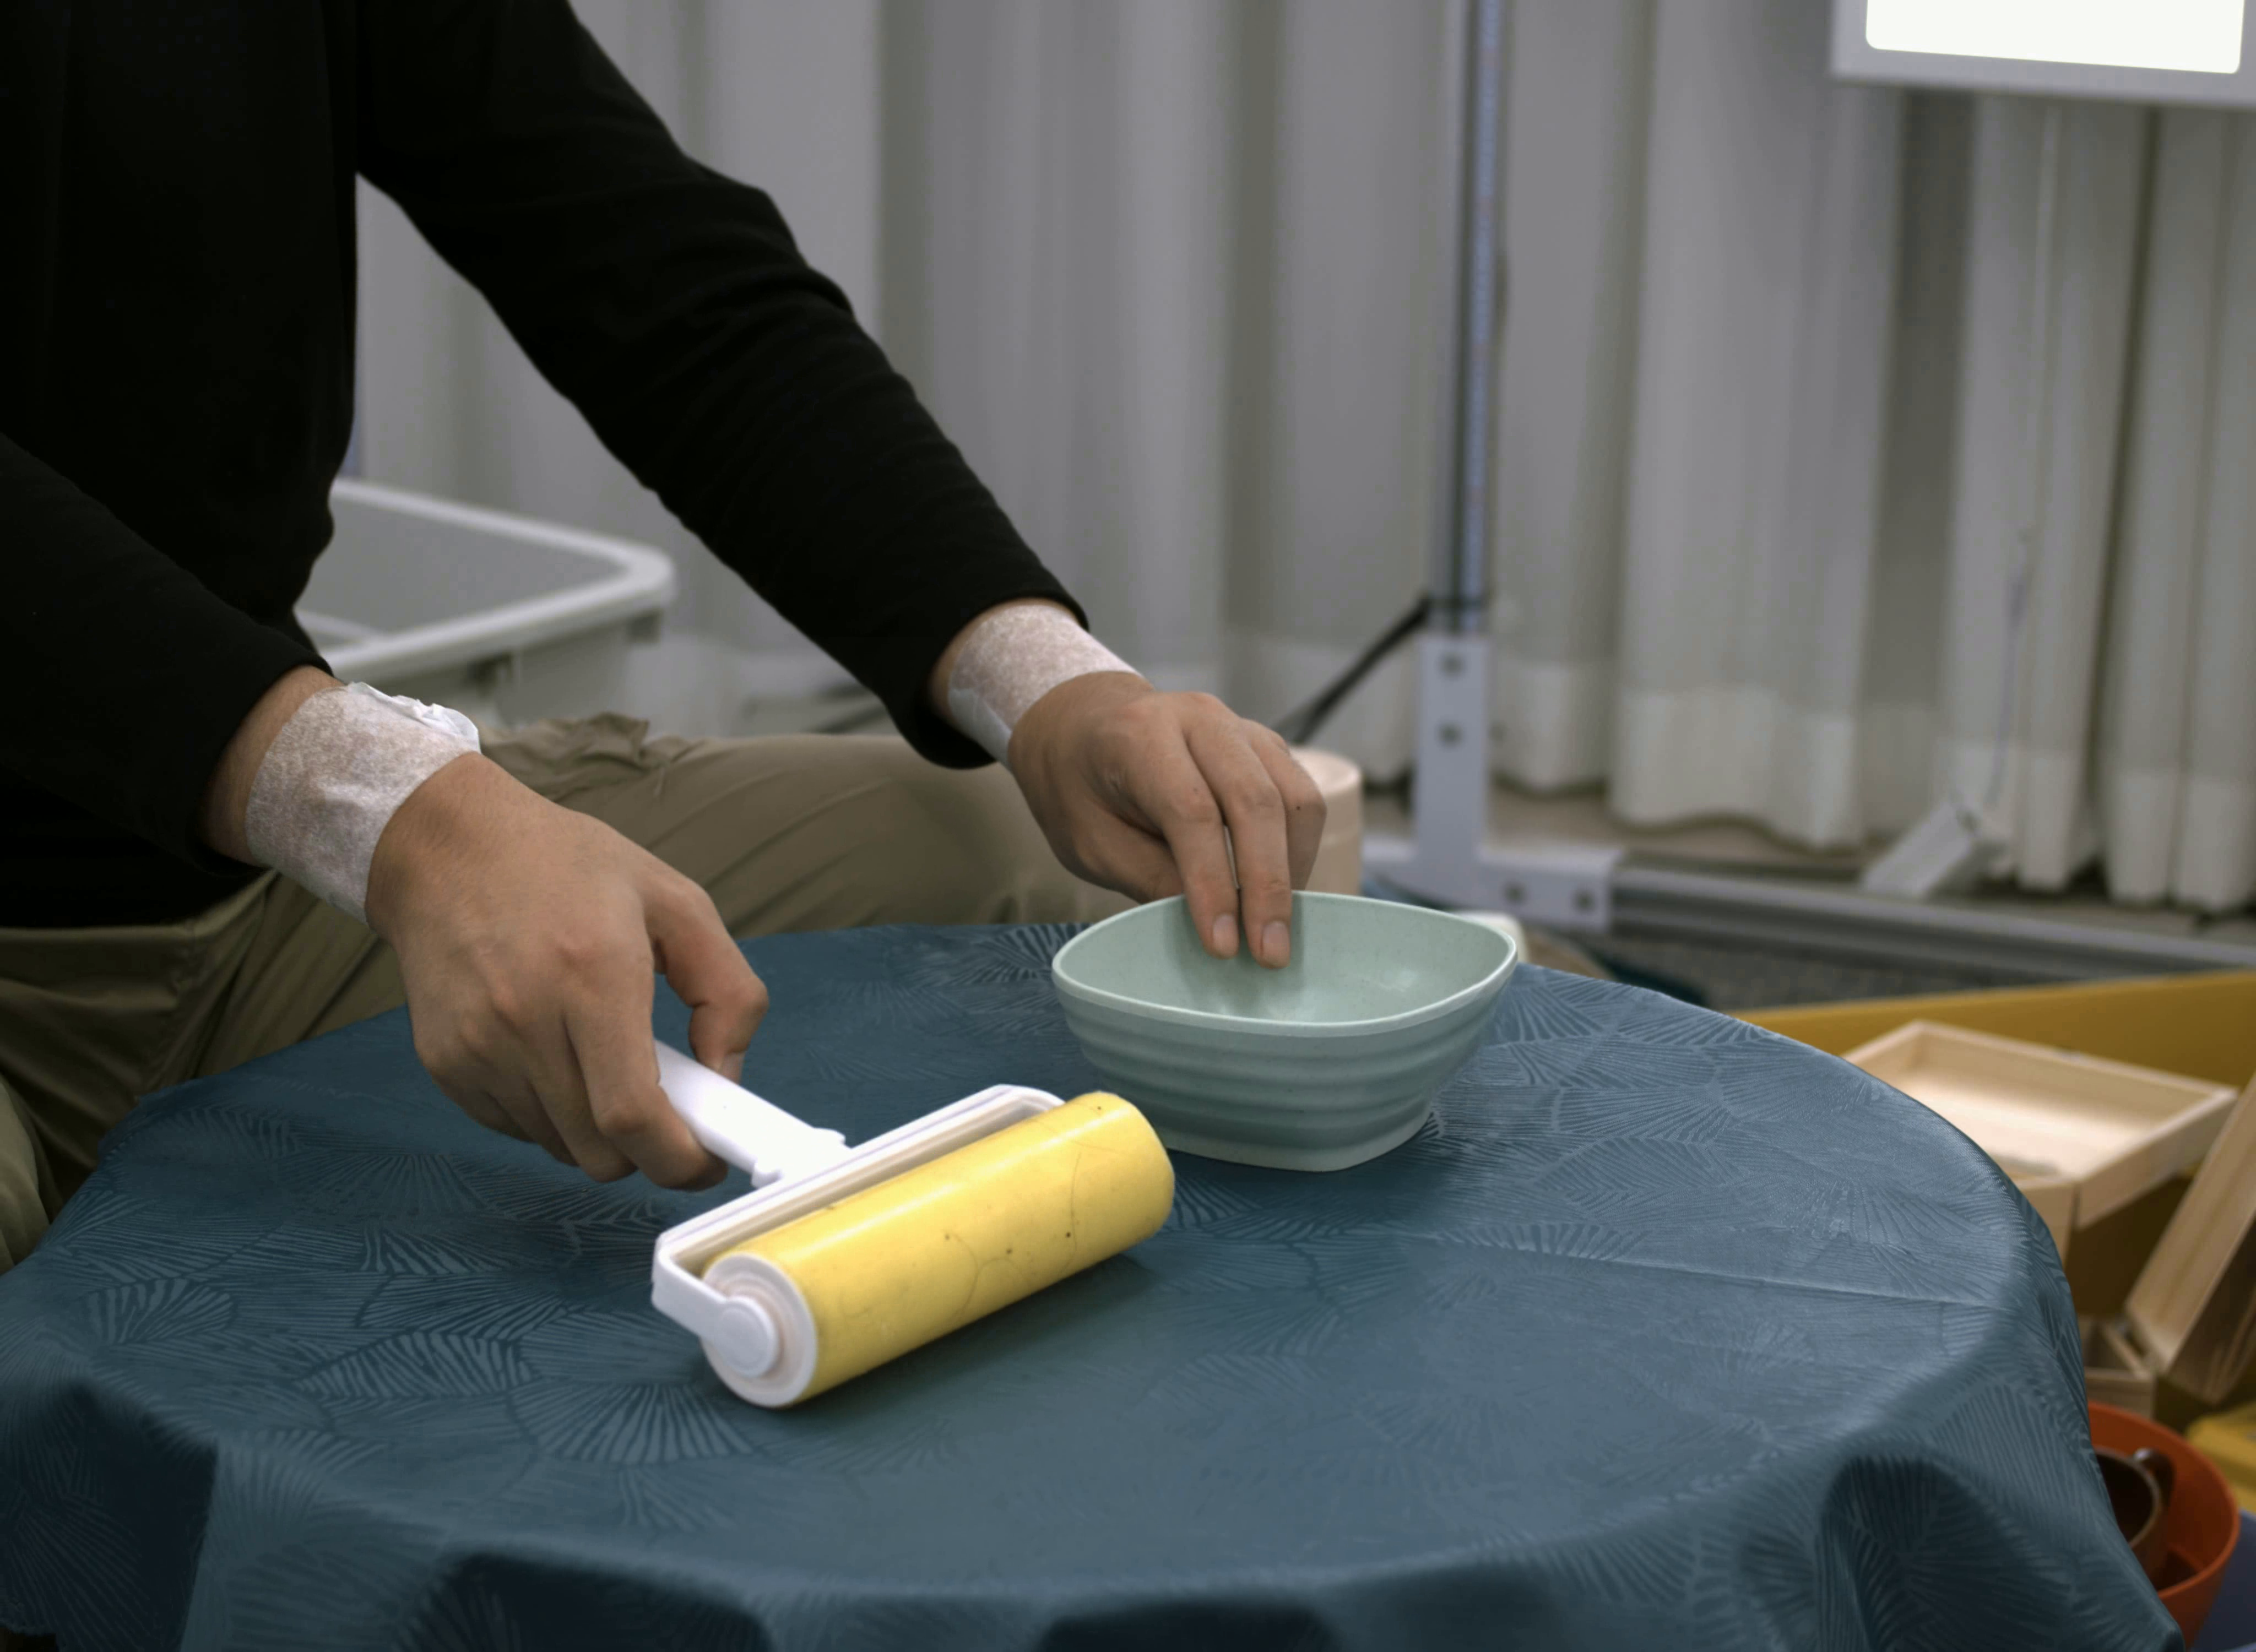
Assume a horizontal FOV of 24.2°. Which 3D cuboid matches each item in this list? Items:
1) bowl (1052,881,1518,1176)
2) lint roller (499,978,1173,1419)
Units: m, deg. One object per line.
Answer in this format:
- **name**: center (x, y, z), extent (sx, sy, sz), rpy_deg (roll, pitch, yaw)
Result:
- **bowl**: center (0.049, 0.068, 1.676), extent (0.151, 0.059, 0.150), rpy_deg (2, 17, 0)
- **lint roller**: center (-0.107, 0.085, 1.527), extent (0.190, 0.052, 0.175), rpy_deg (37, 33, 23)
